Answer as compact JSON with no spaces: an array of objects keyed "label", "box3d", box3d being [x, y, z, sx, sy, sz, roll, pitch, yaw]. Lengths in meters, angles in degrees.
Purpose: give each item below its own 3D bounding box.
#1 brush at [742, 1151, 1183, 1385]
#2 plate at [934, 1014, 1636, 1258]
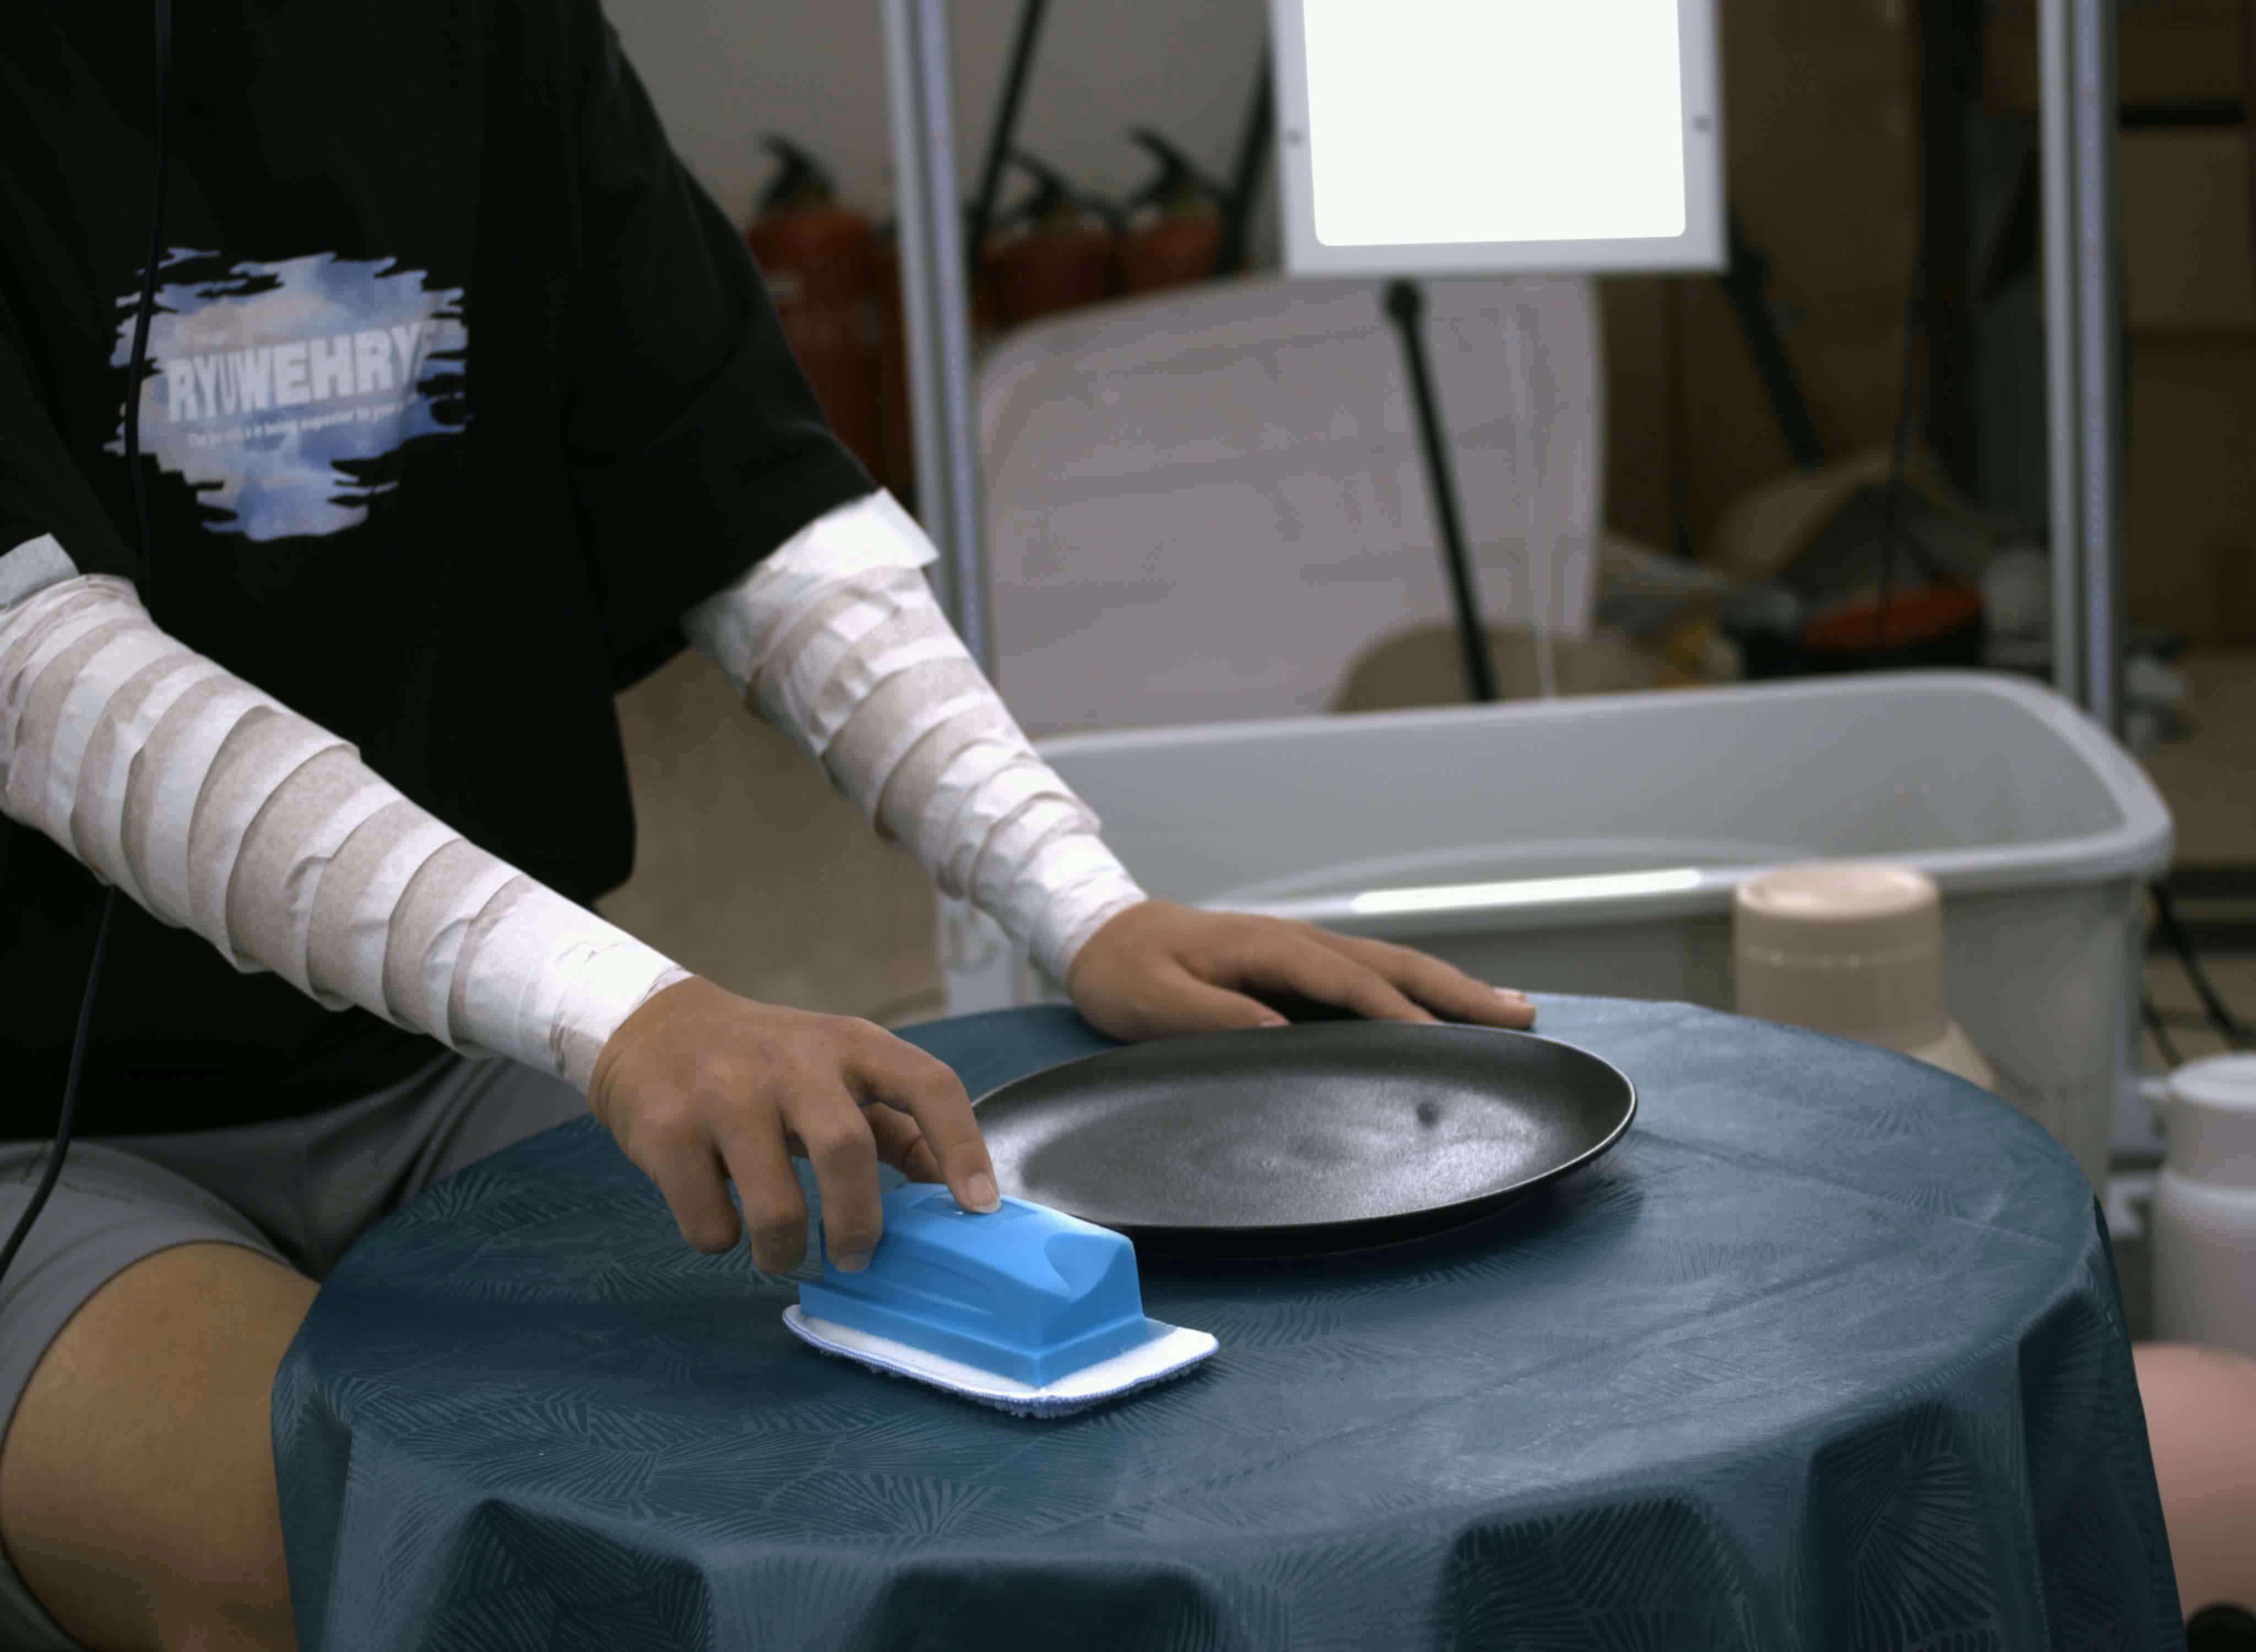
[{"label":"brush","box3d":[-0.052,0.138,1.738,0.082,0.056,0.147,-11,17,-41]},{"label":"plate","box3d":[0.055,0.109,1.897,0.244,0.023,0.244,-5,14,0]}]
